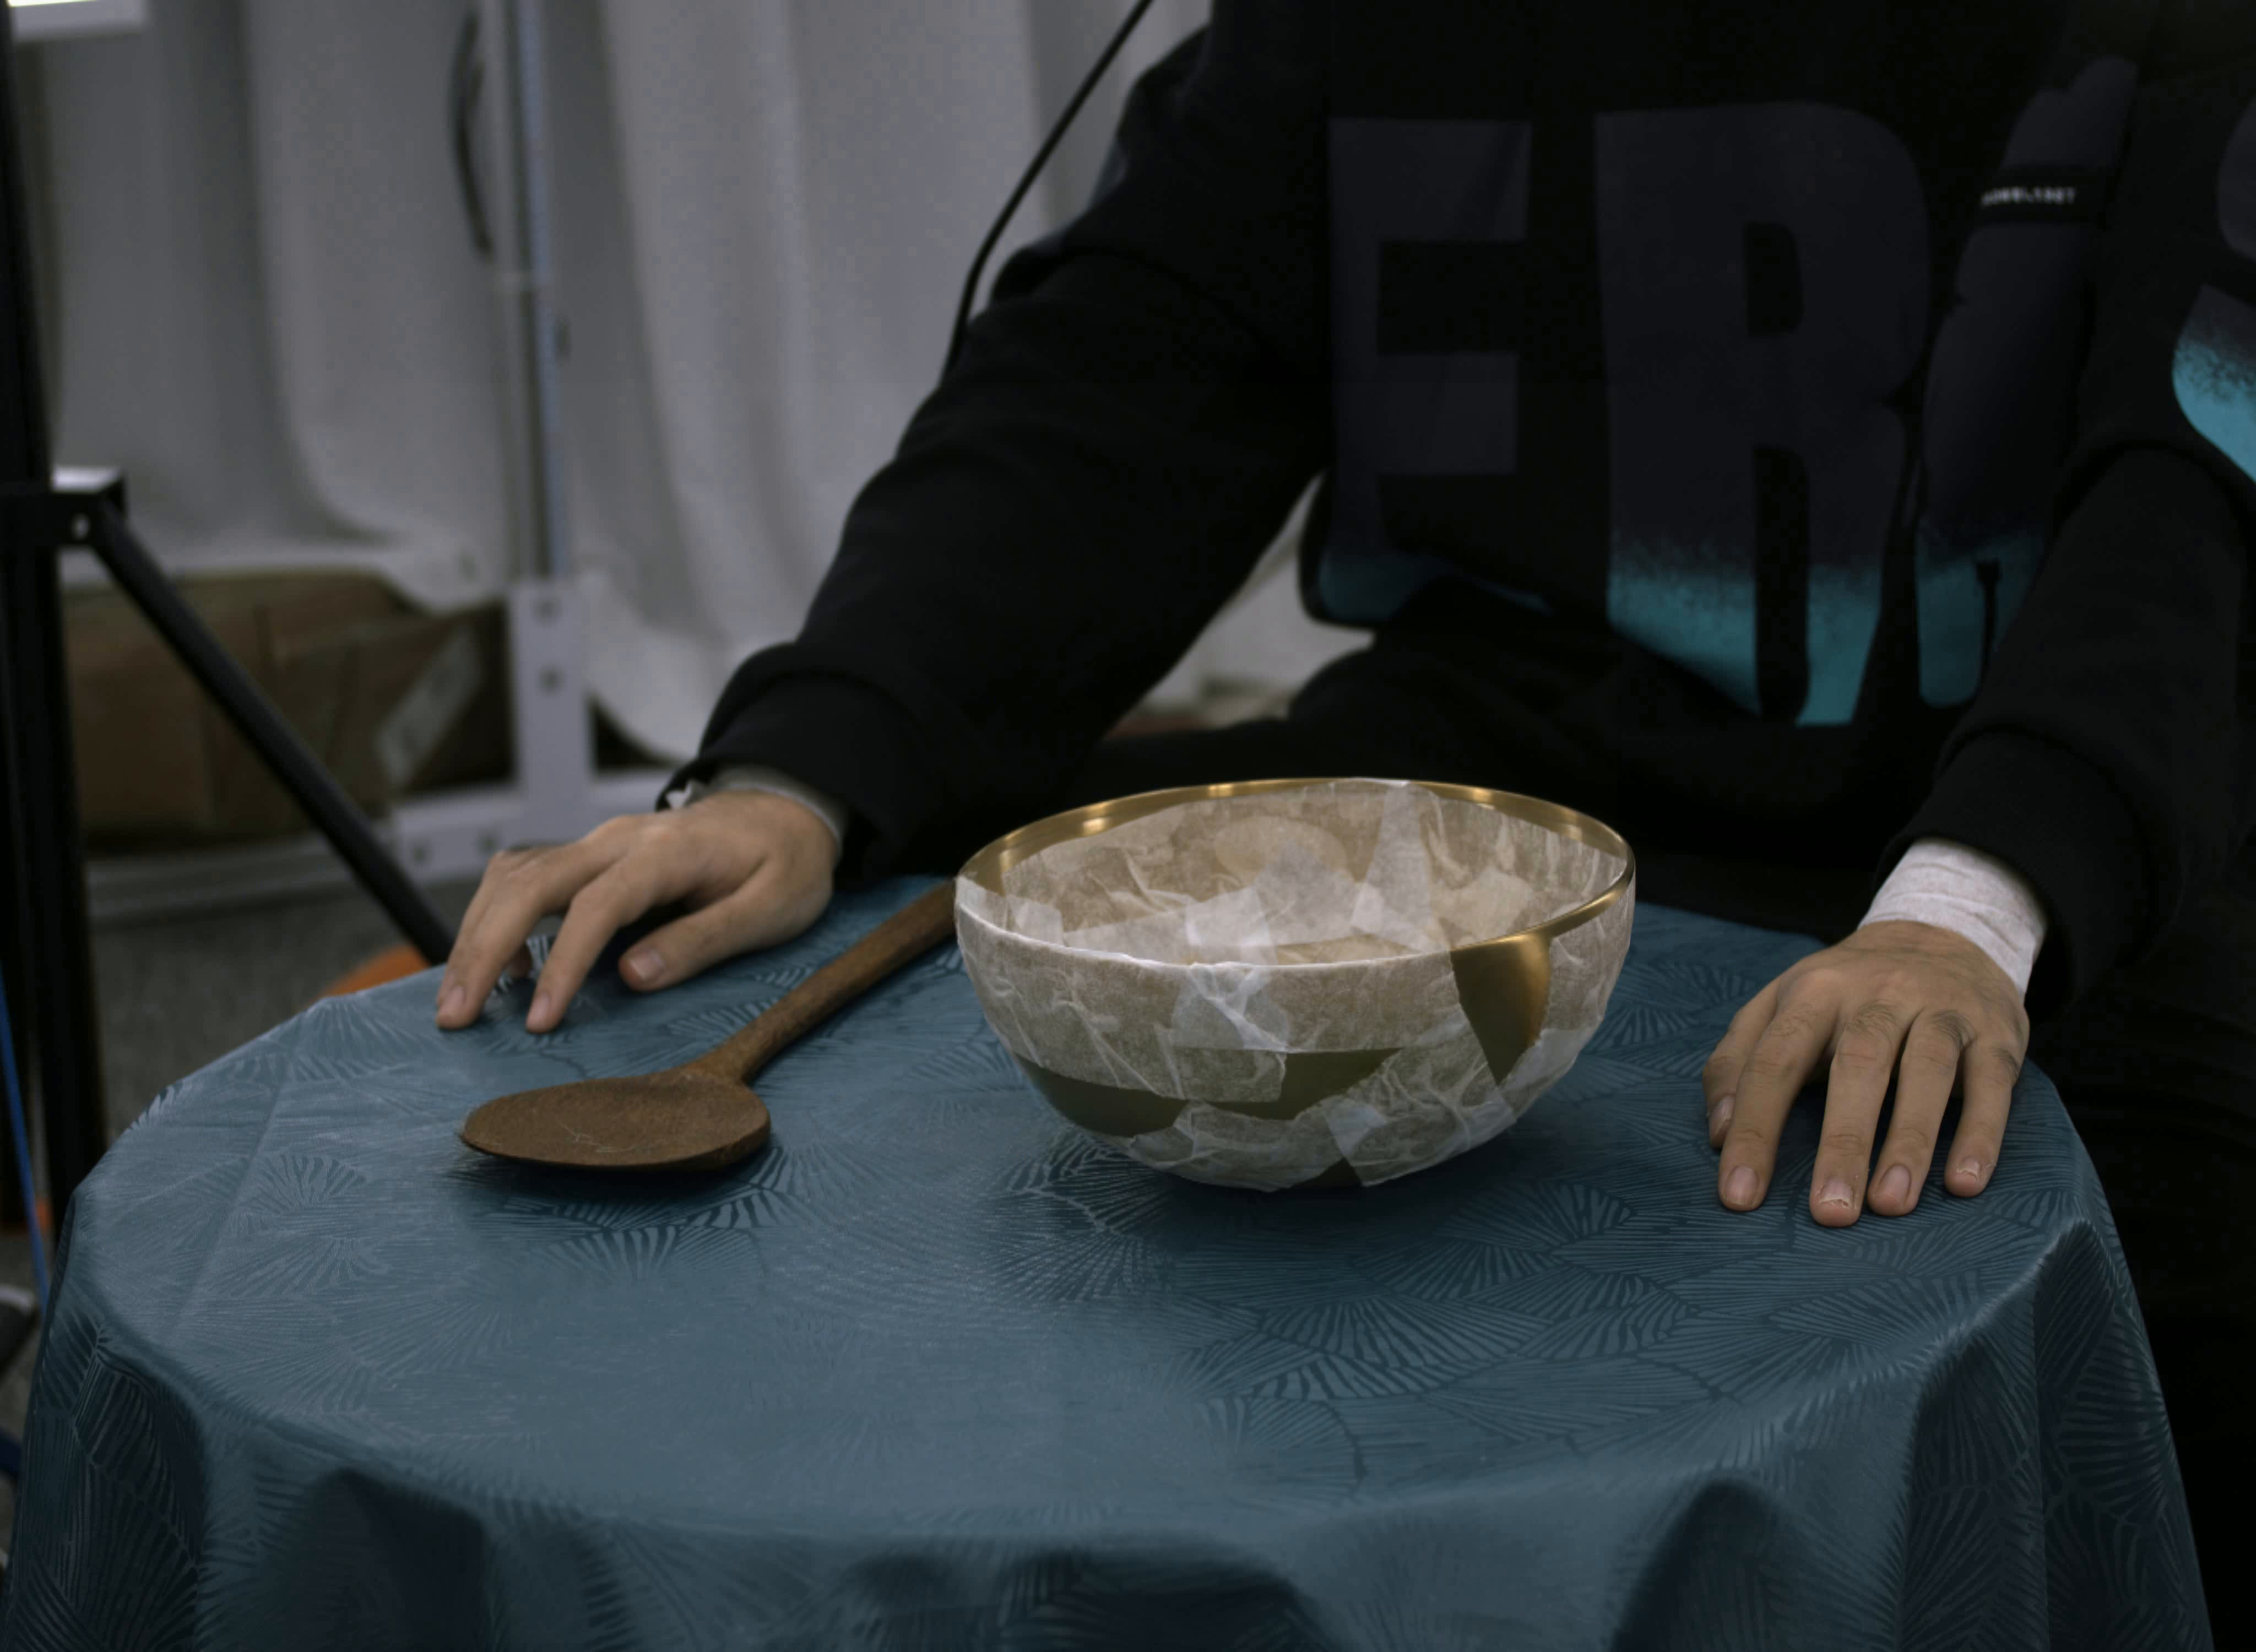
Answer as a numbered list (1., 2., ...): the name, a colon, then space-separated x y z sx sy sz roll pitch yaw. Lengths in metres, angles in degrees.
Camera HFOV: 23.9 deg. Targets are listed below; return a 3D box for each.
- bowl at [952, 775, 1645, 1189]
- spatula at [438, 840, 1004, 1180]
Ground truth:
1. bowl: 0.054 0.053 1.570 0.213 0.094 0.216 -4 14 0
2. spatula: -0.099 0.054 1.742 0.097 0.016 0.380 4 17 22
